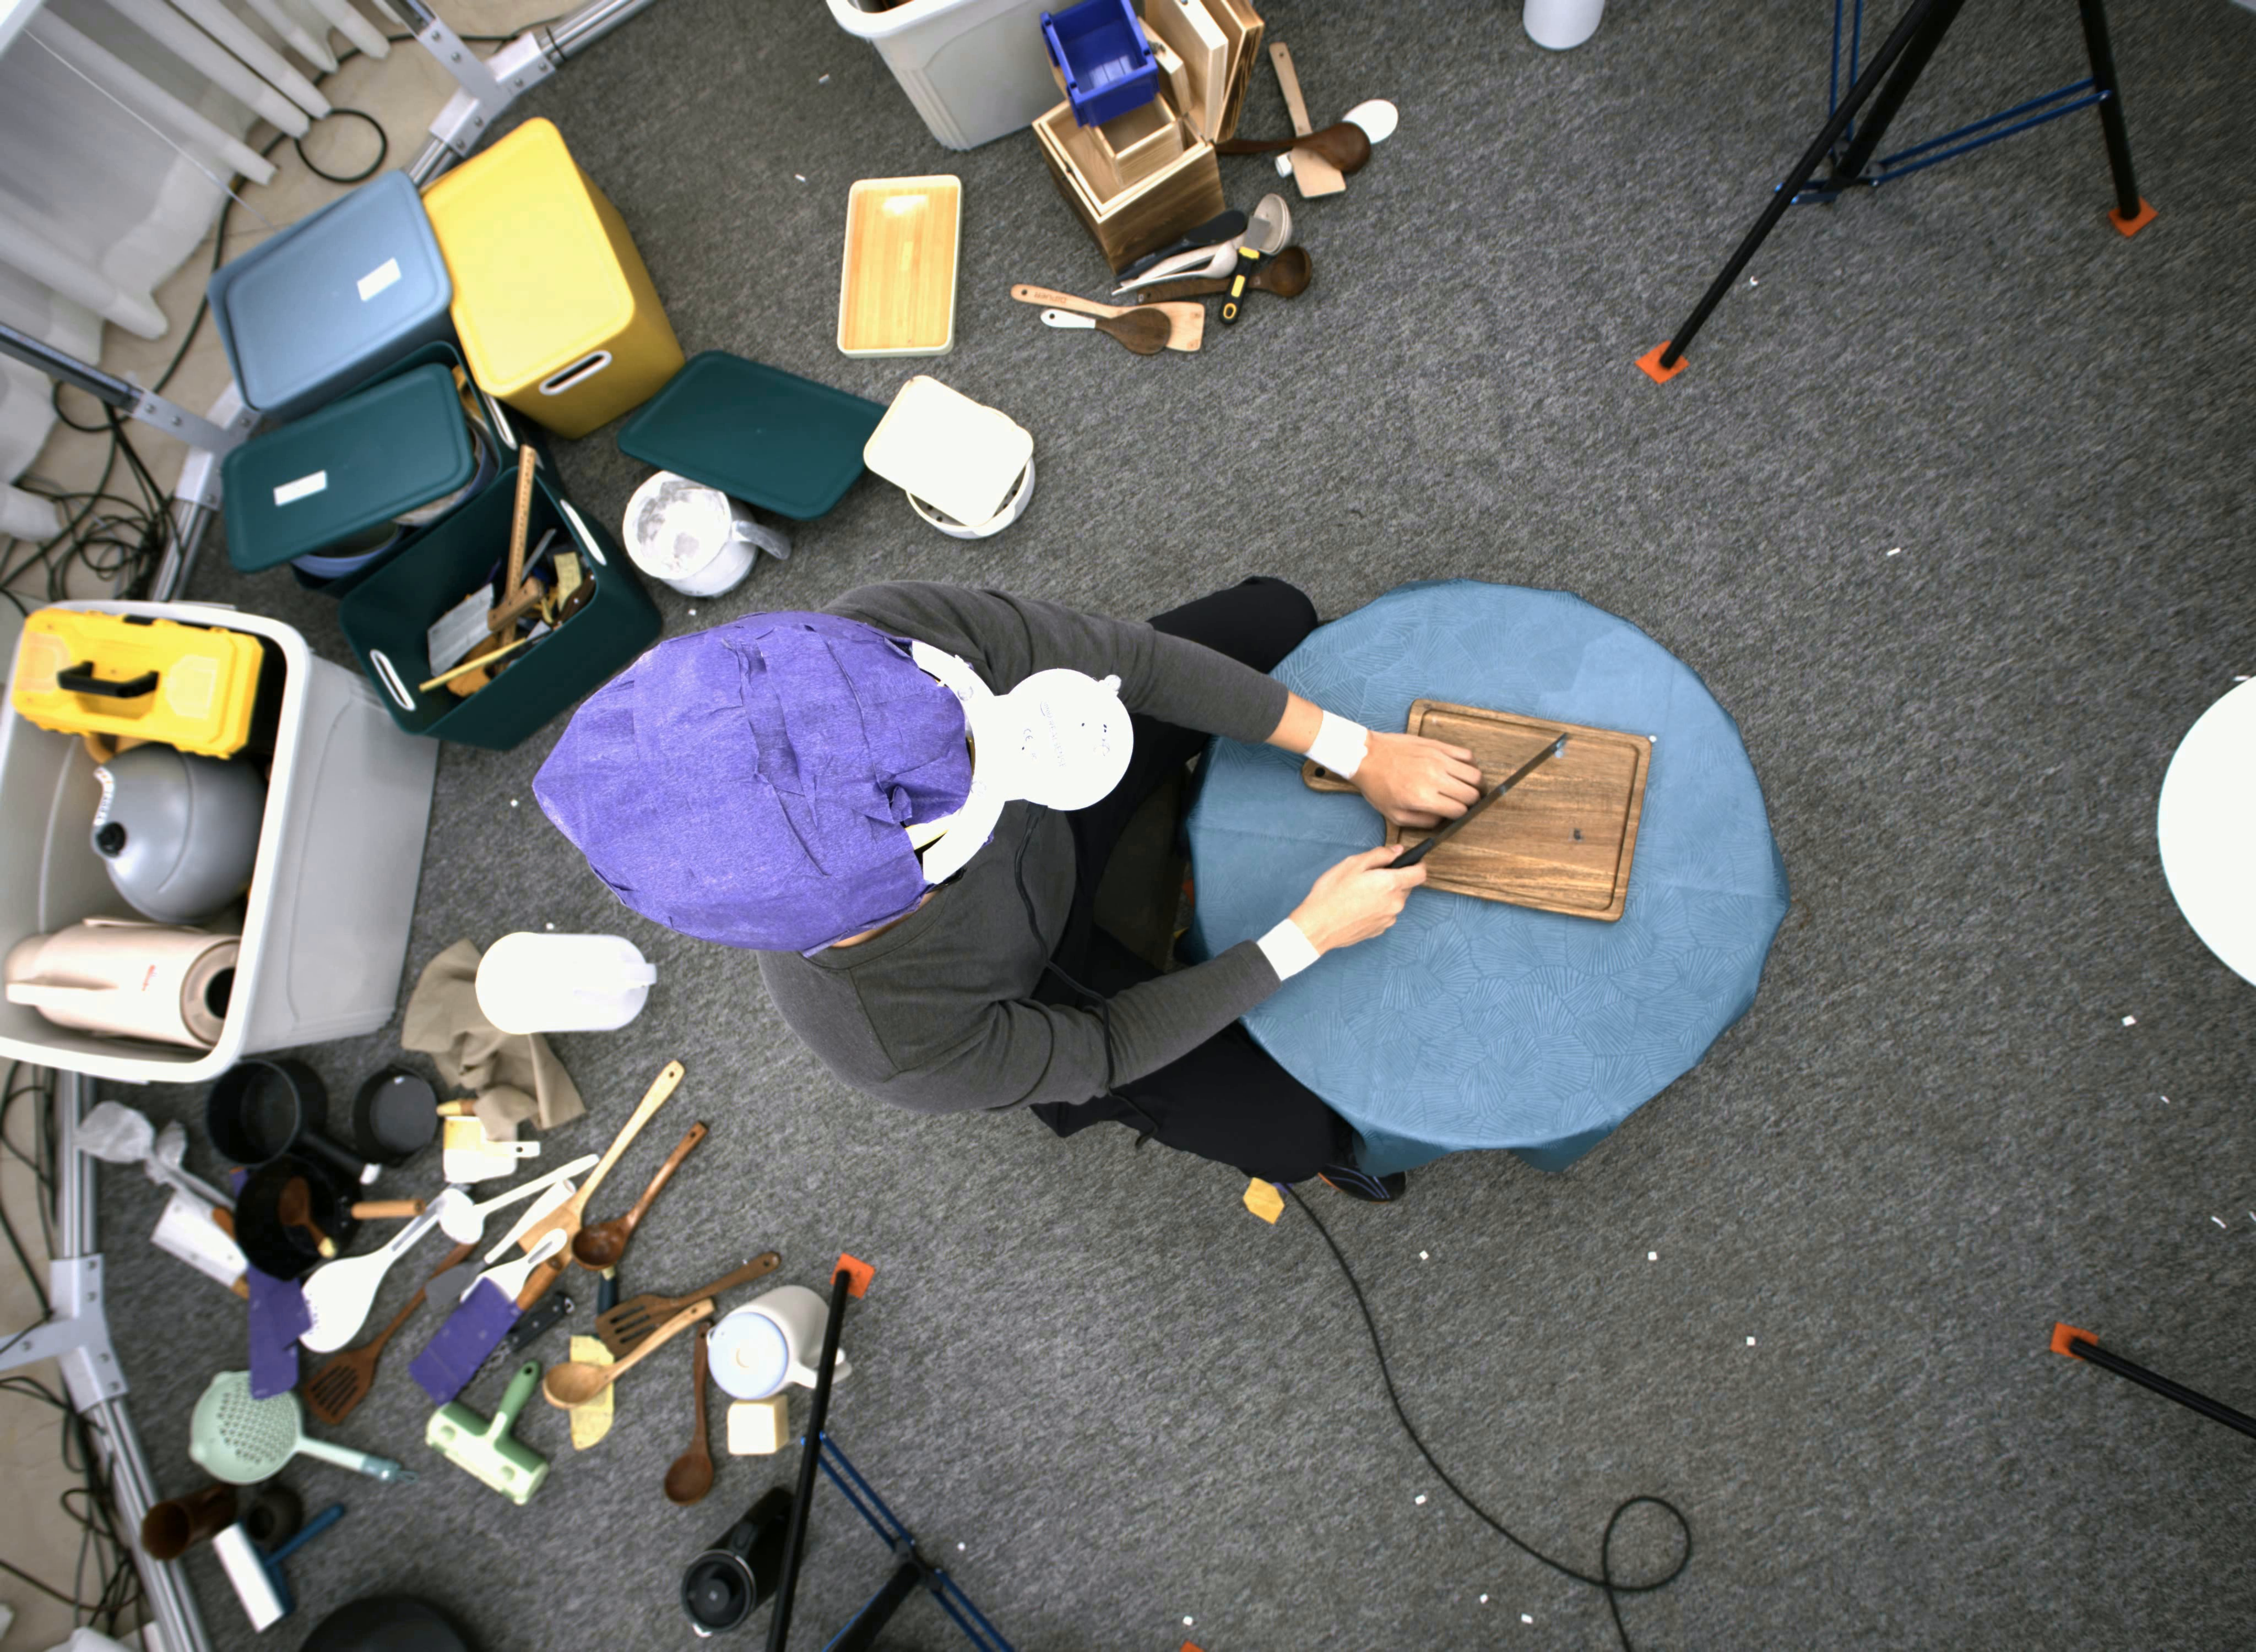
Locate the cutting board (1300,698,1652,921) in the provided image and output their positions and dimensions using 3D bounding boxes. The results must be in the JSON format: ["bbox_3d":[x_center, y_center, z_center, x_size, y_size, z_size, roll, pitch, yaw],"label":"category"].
[{"bbox_3d":[0.355,-0.030,1.439,0.353,0.023,0.200,10,88,11],"label":"cutting board"}]

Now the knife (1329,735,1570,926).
[{"bbox_3d":[0.327,0.003,1.396,0.304,0.081,0.020,-38,74,8],"label":"knife"}]
